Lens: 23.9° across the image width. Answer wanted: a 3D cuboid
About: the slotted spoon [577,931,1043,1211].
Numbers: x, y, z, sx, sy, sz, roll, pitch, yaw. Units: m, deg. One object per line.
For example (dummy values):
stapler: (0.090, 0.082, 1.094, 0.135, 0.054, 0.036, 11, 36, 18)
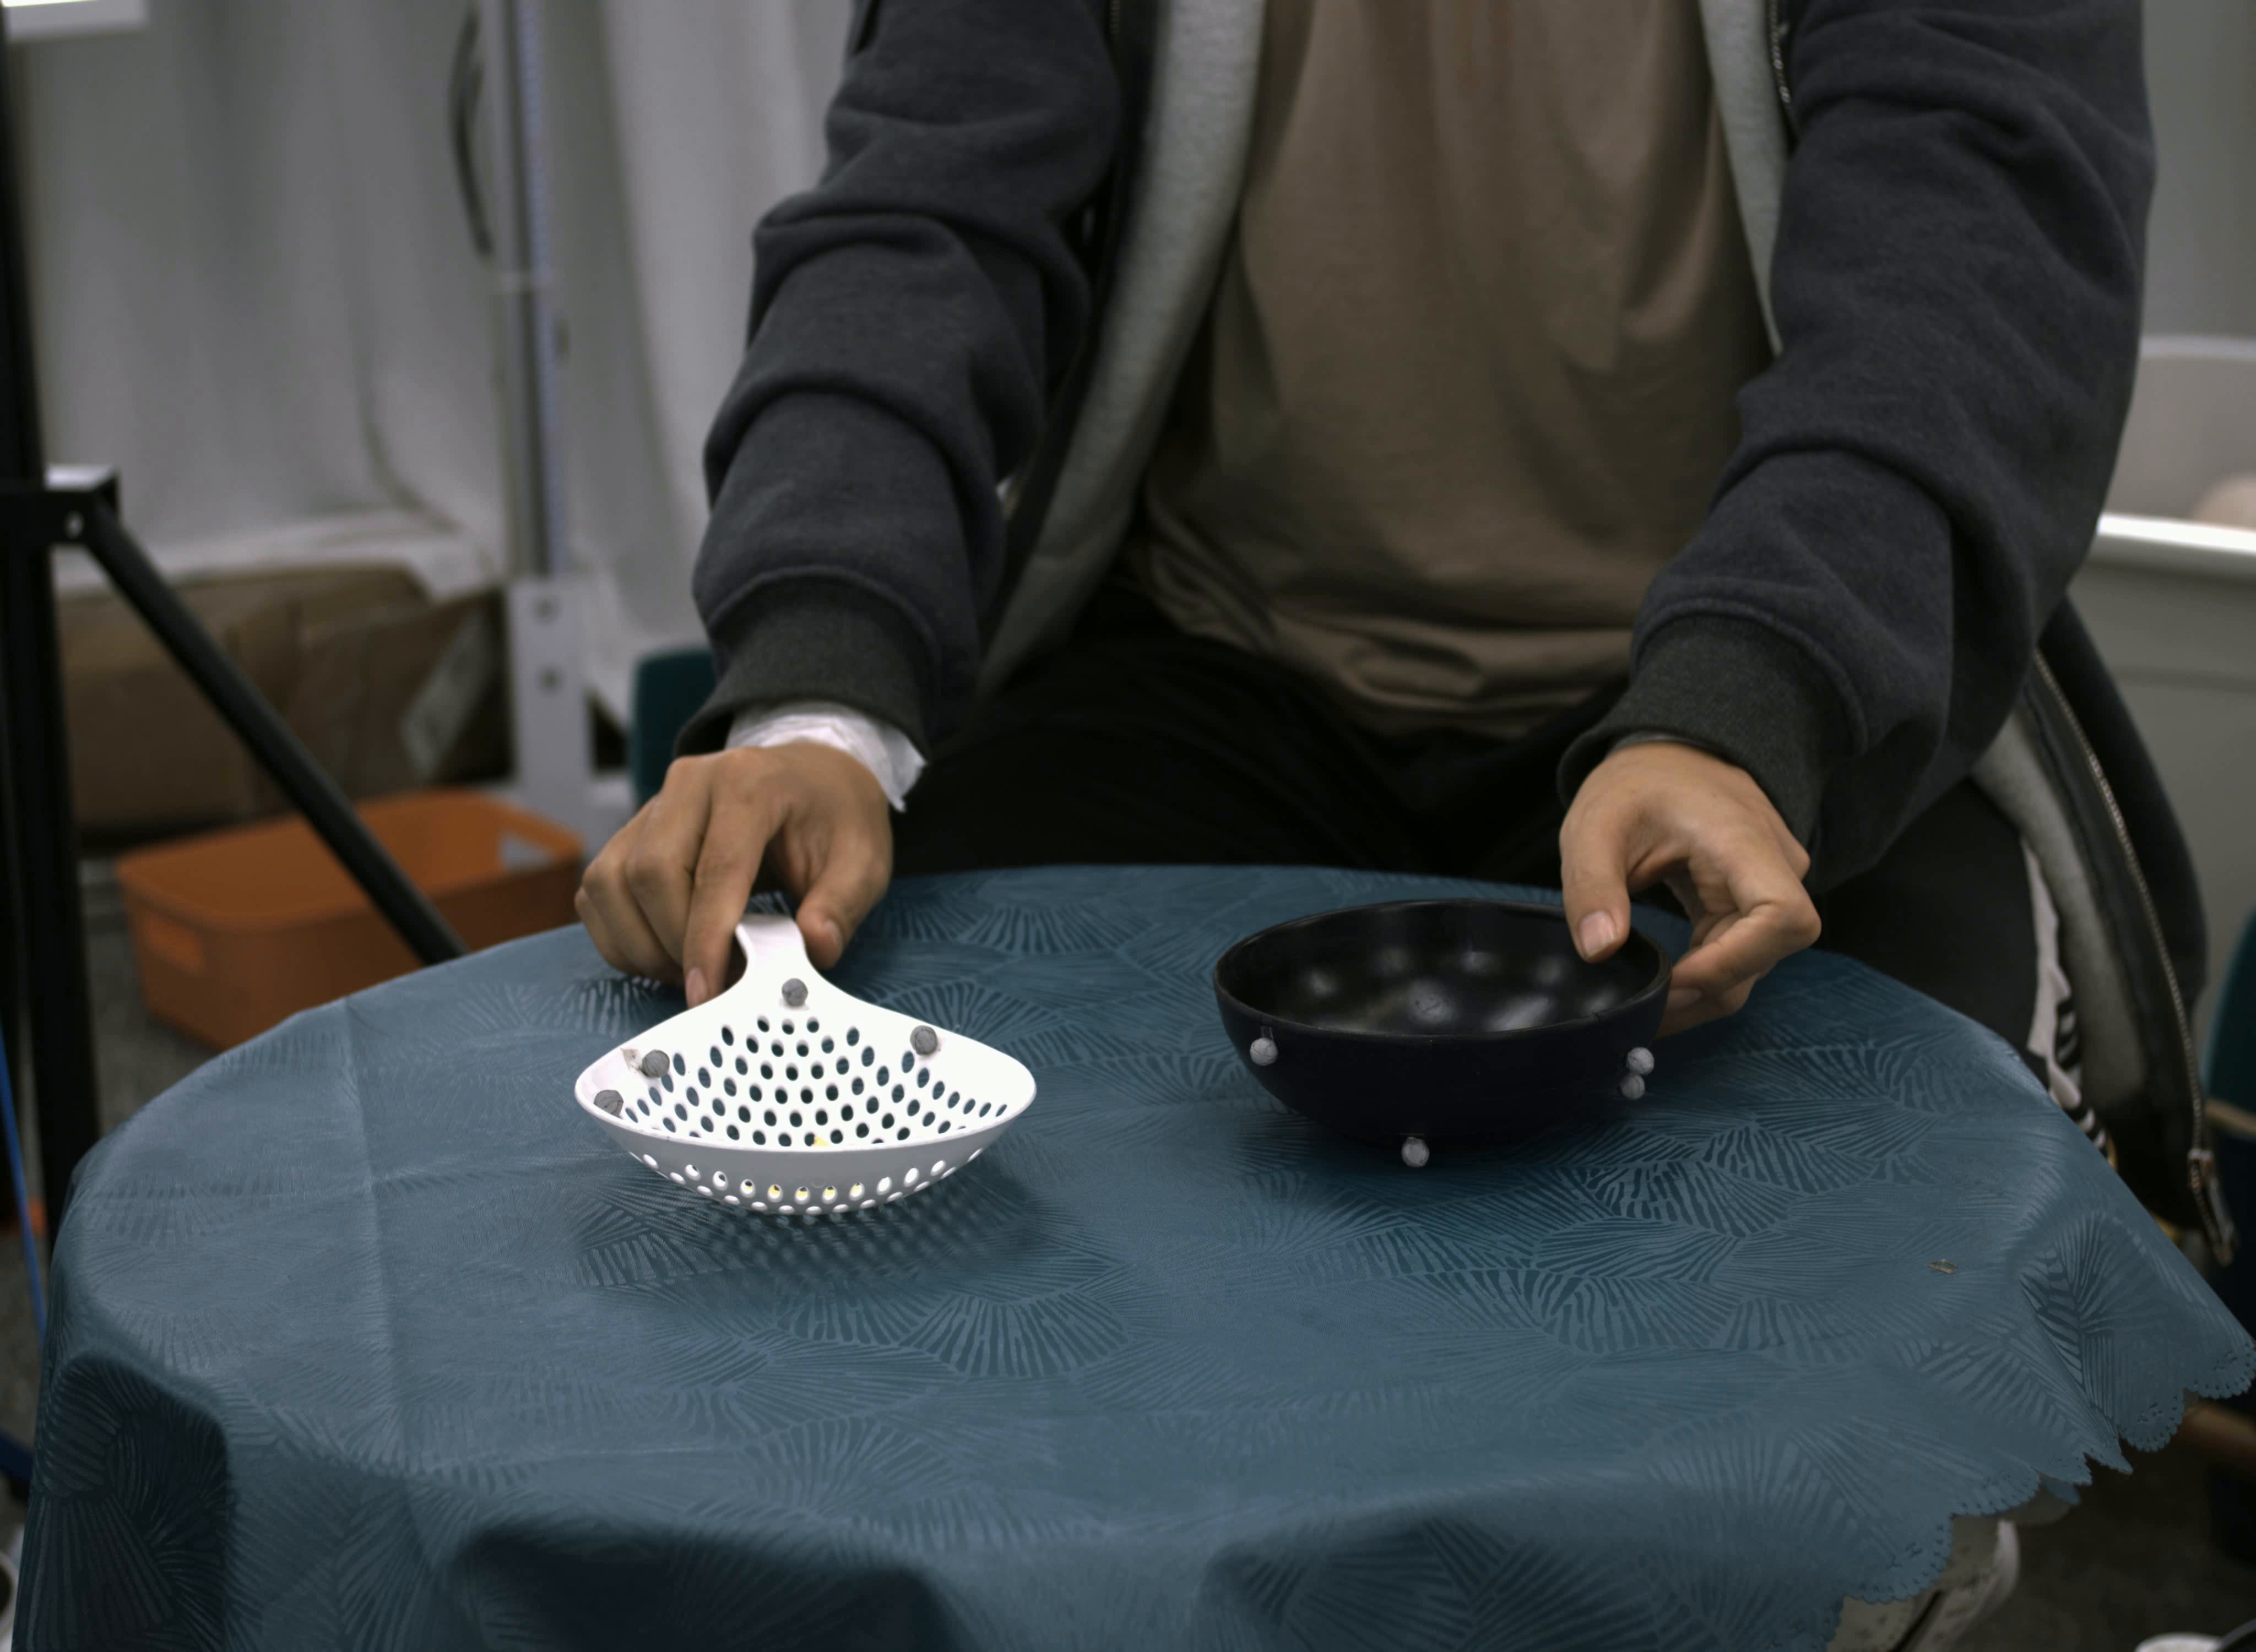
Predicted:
slotted spoon: (-0.109, 0.062, 1.667, 0.135, 0.050, 0.351, -5, 15, -7)
